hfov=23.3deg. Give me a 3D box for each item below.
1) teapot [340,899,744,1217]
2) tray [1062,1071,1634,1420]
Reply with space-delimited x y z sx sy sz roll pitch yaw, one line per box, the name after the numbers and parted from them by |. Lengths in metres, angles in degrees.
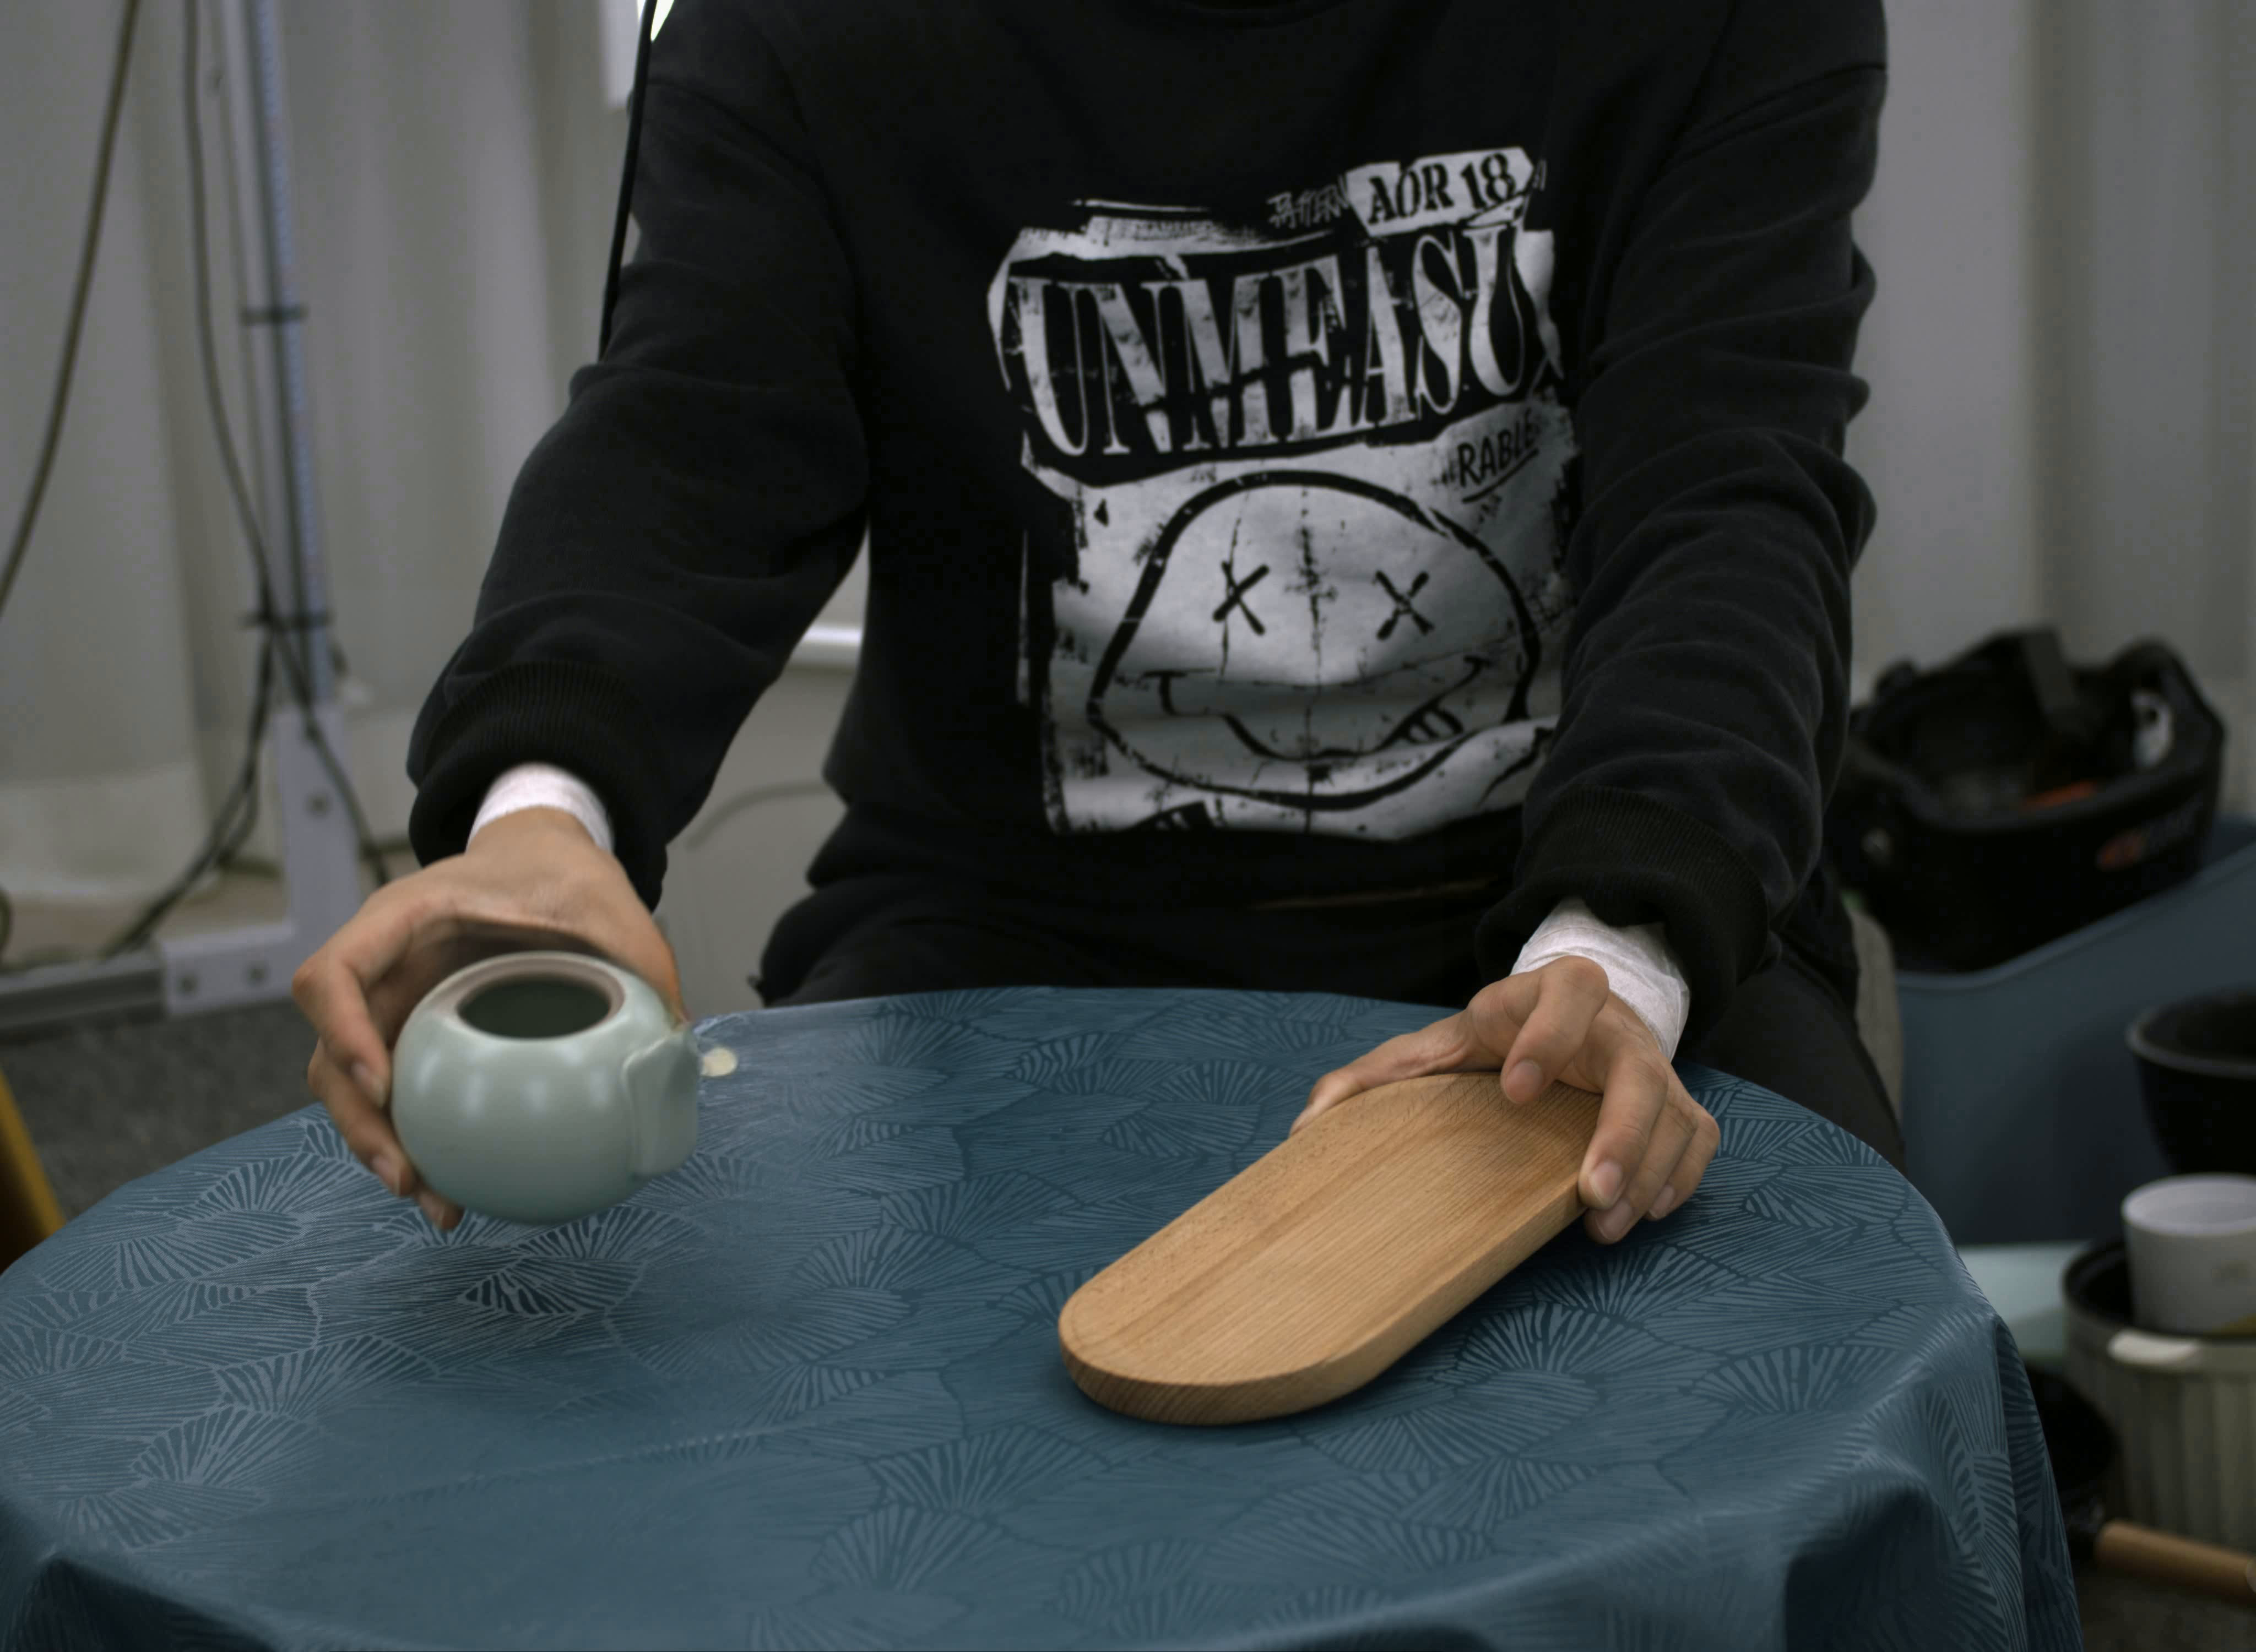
-0.173 0.073 1.611 0.144 0.074 0.088 20 31 29 | teapot
0.067 0.121 1.607 0.102 0.020 0.231 9 22 32 | tray
